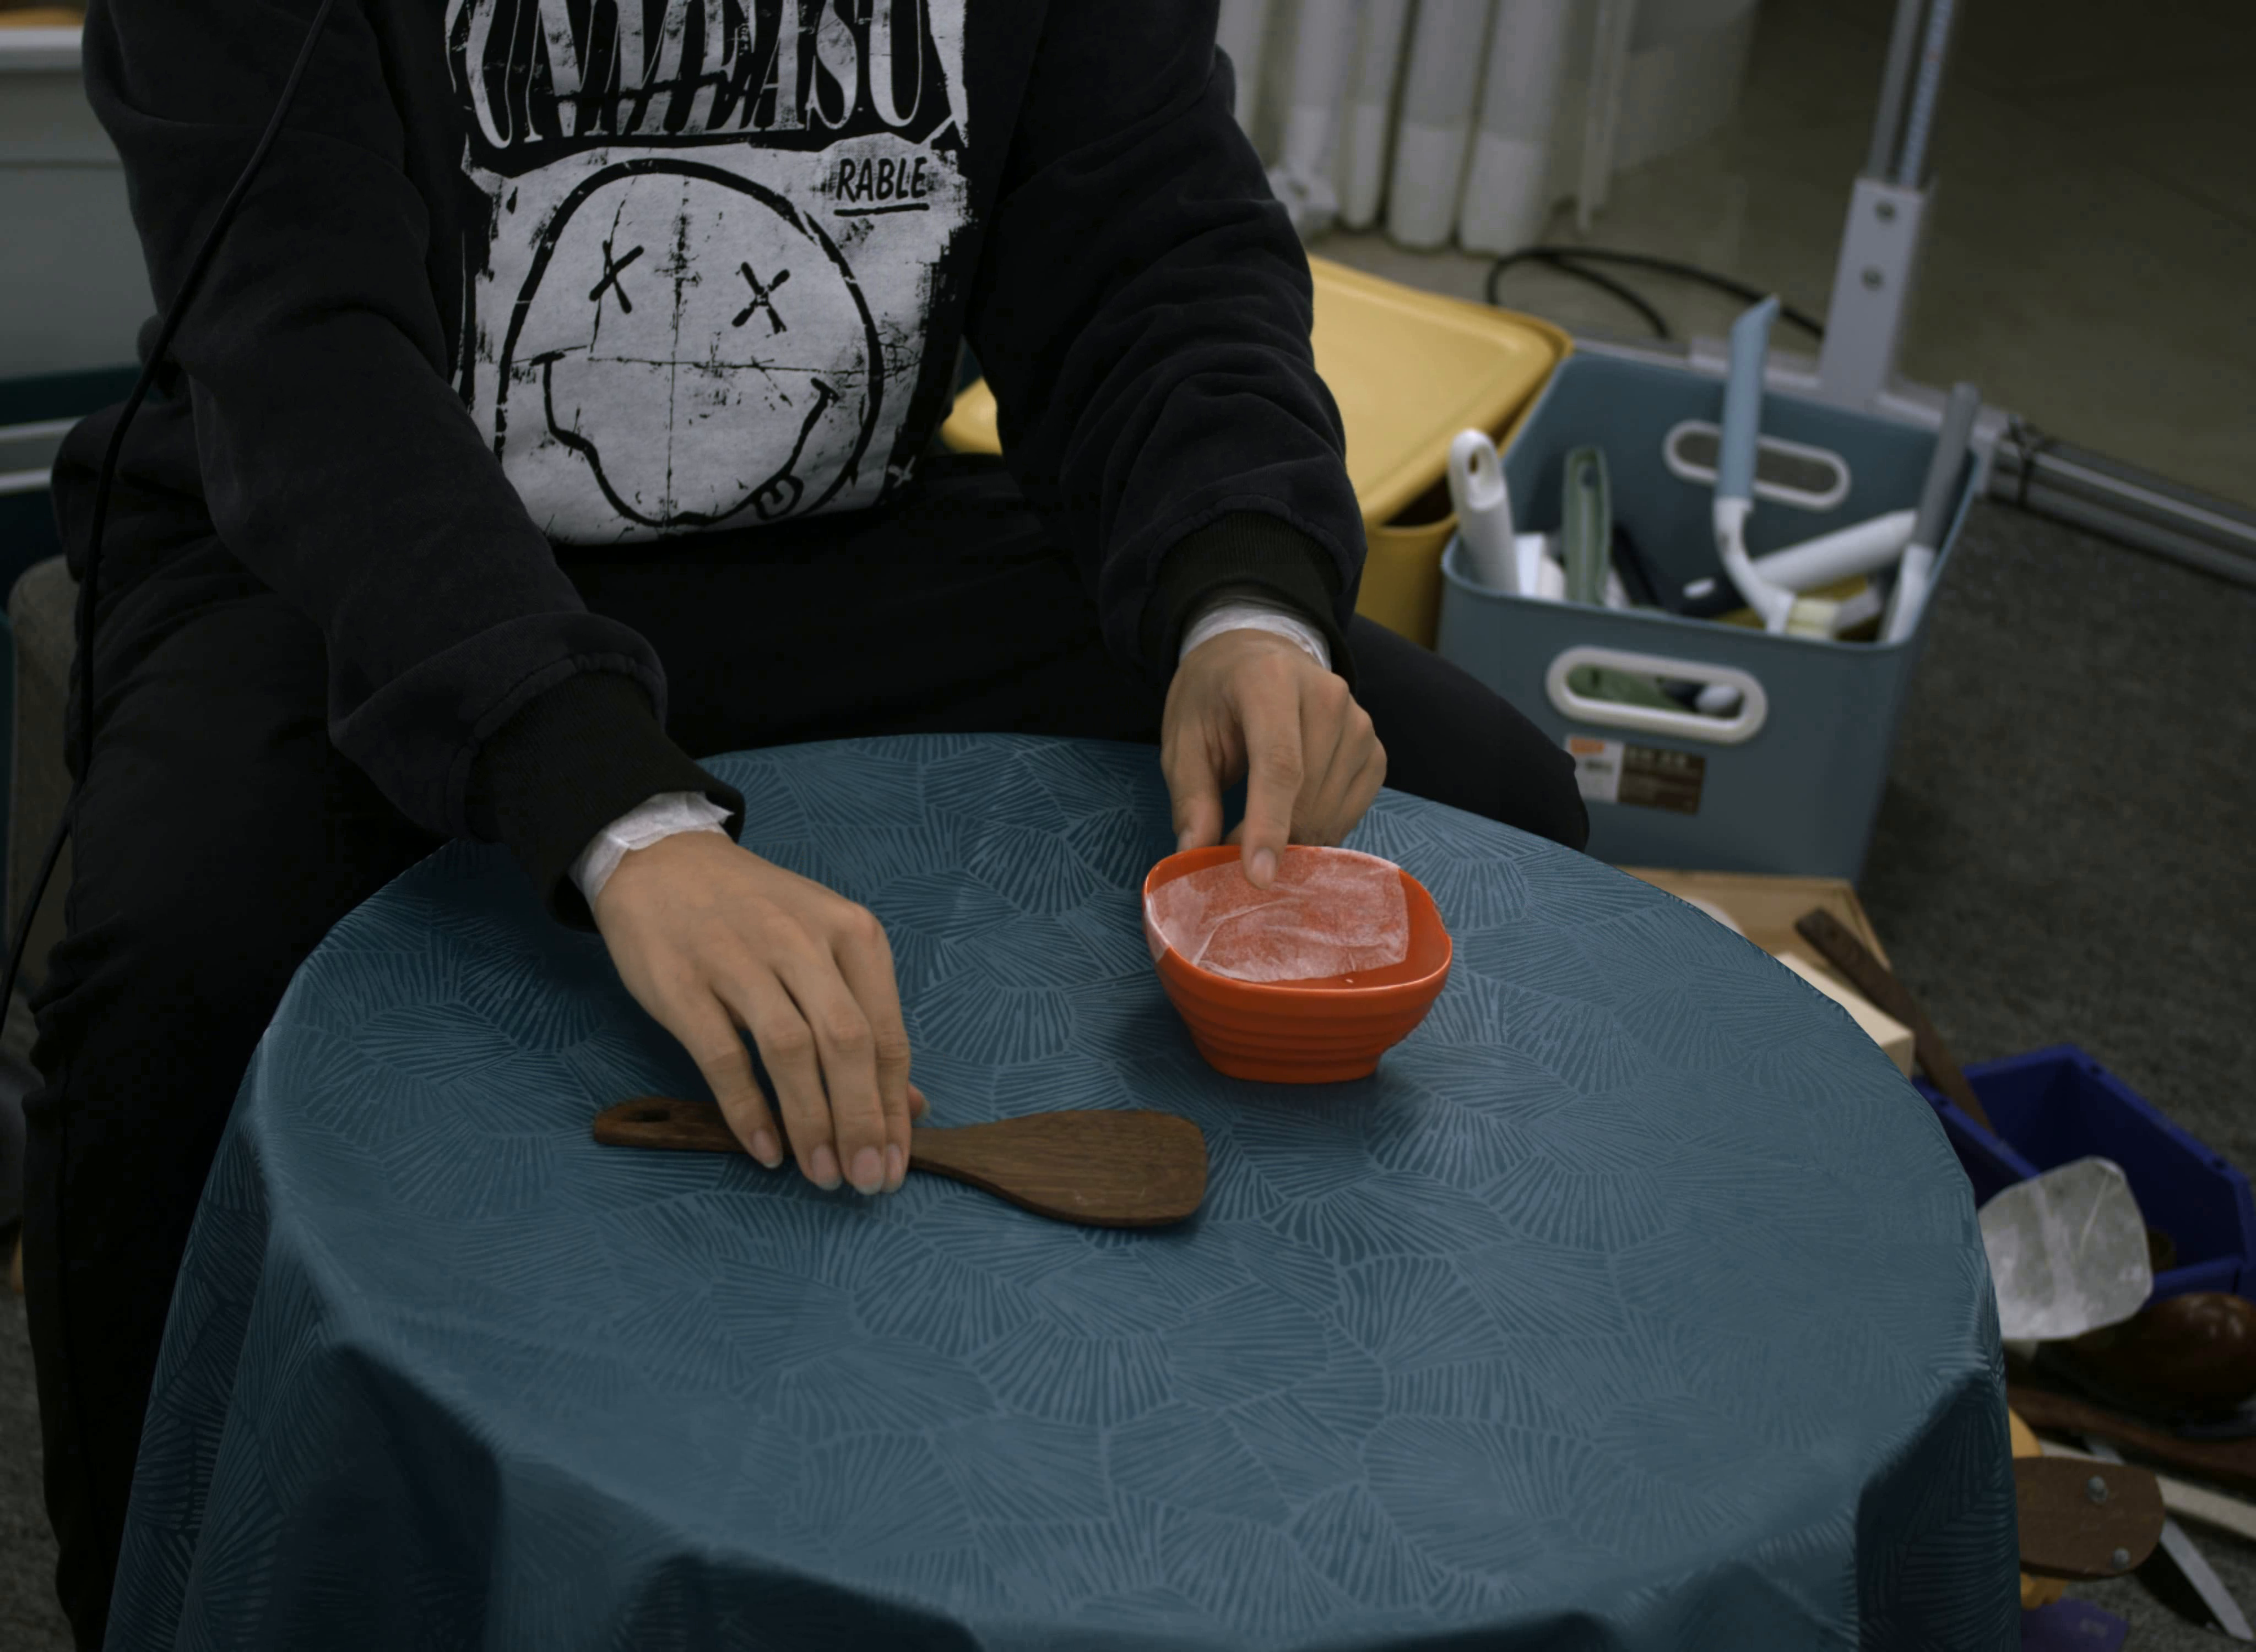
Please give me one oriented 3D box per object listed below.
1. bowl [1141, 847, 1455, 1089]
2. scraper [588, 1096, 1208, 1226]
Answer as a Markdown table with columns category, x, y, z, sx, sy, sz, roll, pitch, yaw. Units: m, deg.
| category | x | y | z | sx | sy | sz | roll | pitch | yaw |
| --- | --- | --- | --- | --- | --- | --- | --- | --- | --- |
| bowl | 0.058 | 0.055 | 1.896 | 0.118 | 0.051 | 0.119 | 5 | 28 | -3 |
| scraper | -0.078 | 0.109 | 1.804 | 0.210 | 0.011 | 0.076 | 5 | 26 | -1 |
